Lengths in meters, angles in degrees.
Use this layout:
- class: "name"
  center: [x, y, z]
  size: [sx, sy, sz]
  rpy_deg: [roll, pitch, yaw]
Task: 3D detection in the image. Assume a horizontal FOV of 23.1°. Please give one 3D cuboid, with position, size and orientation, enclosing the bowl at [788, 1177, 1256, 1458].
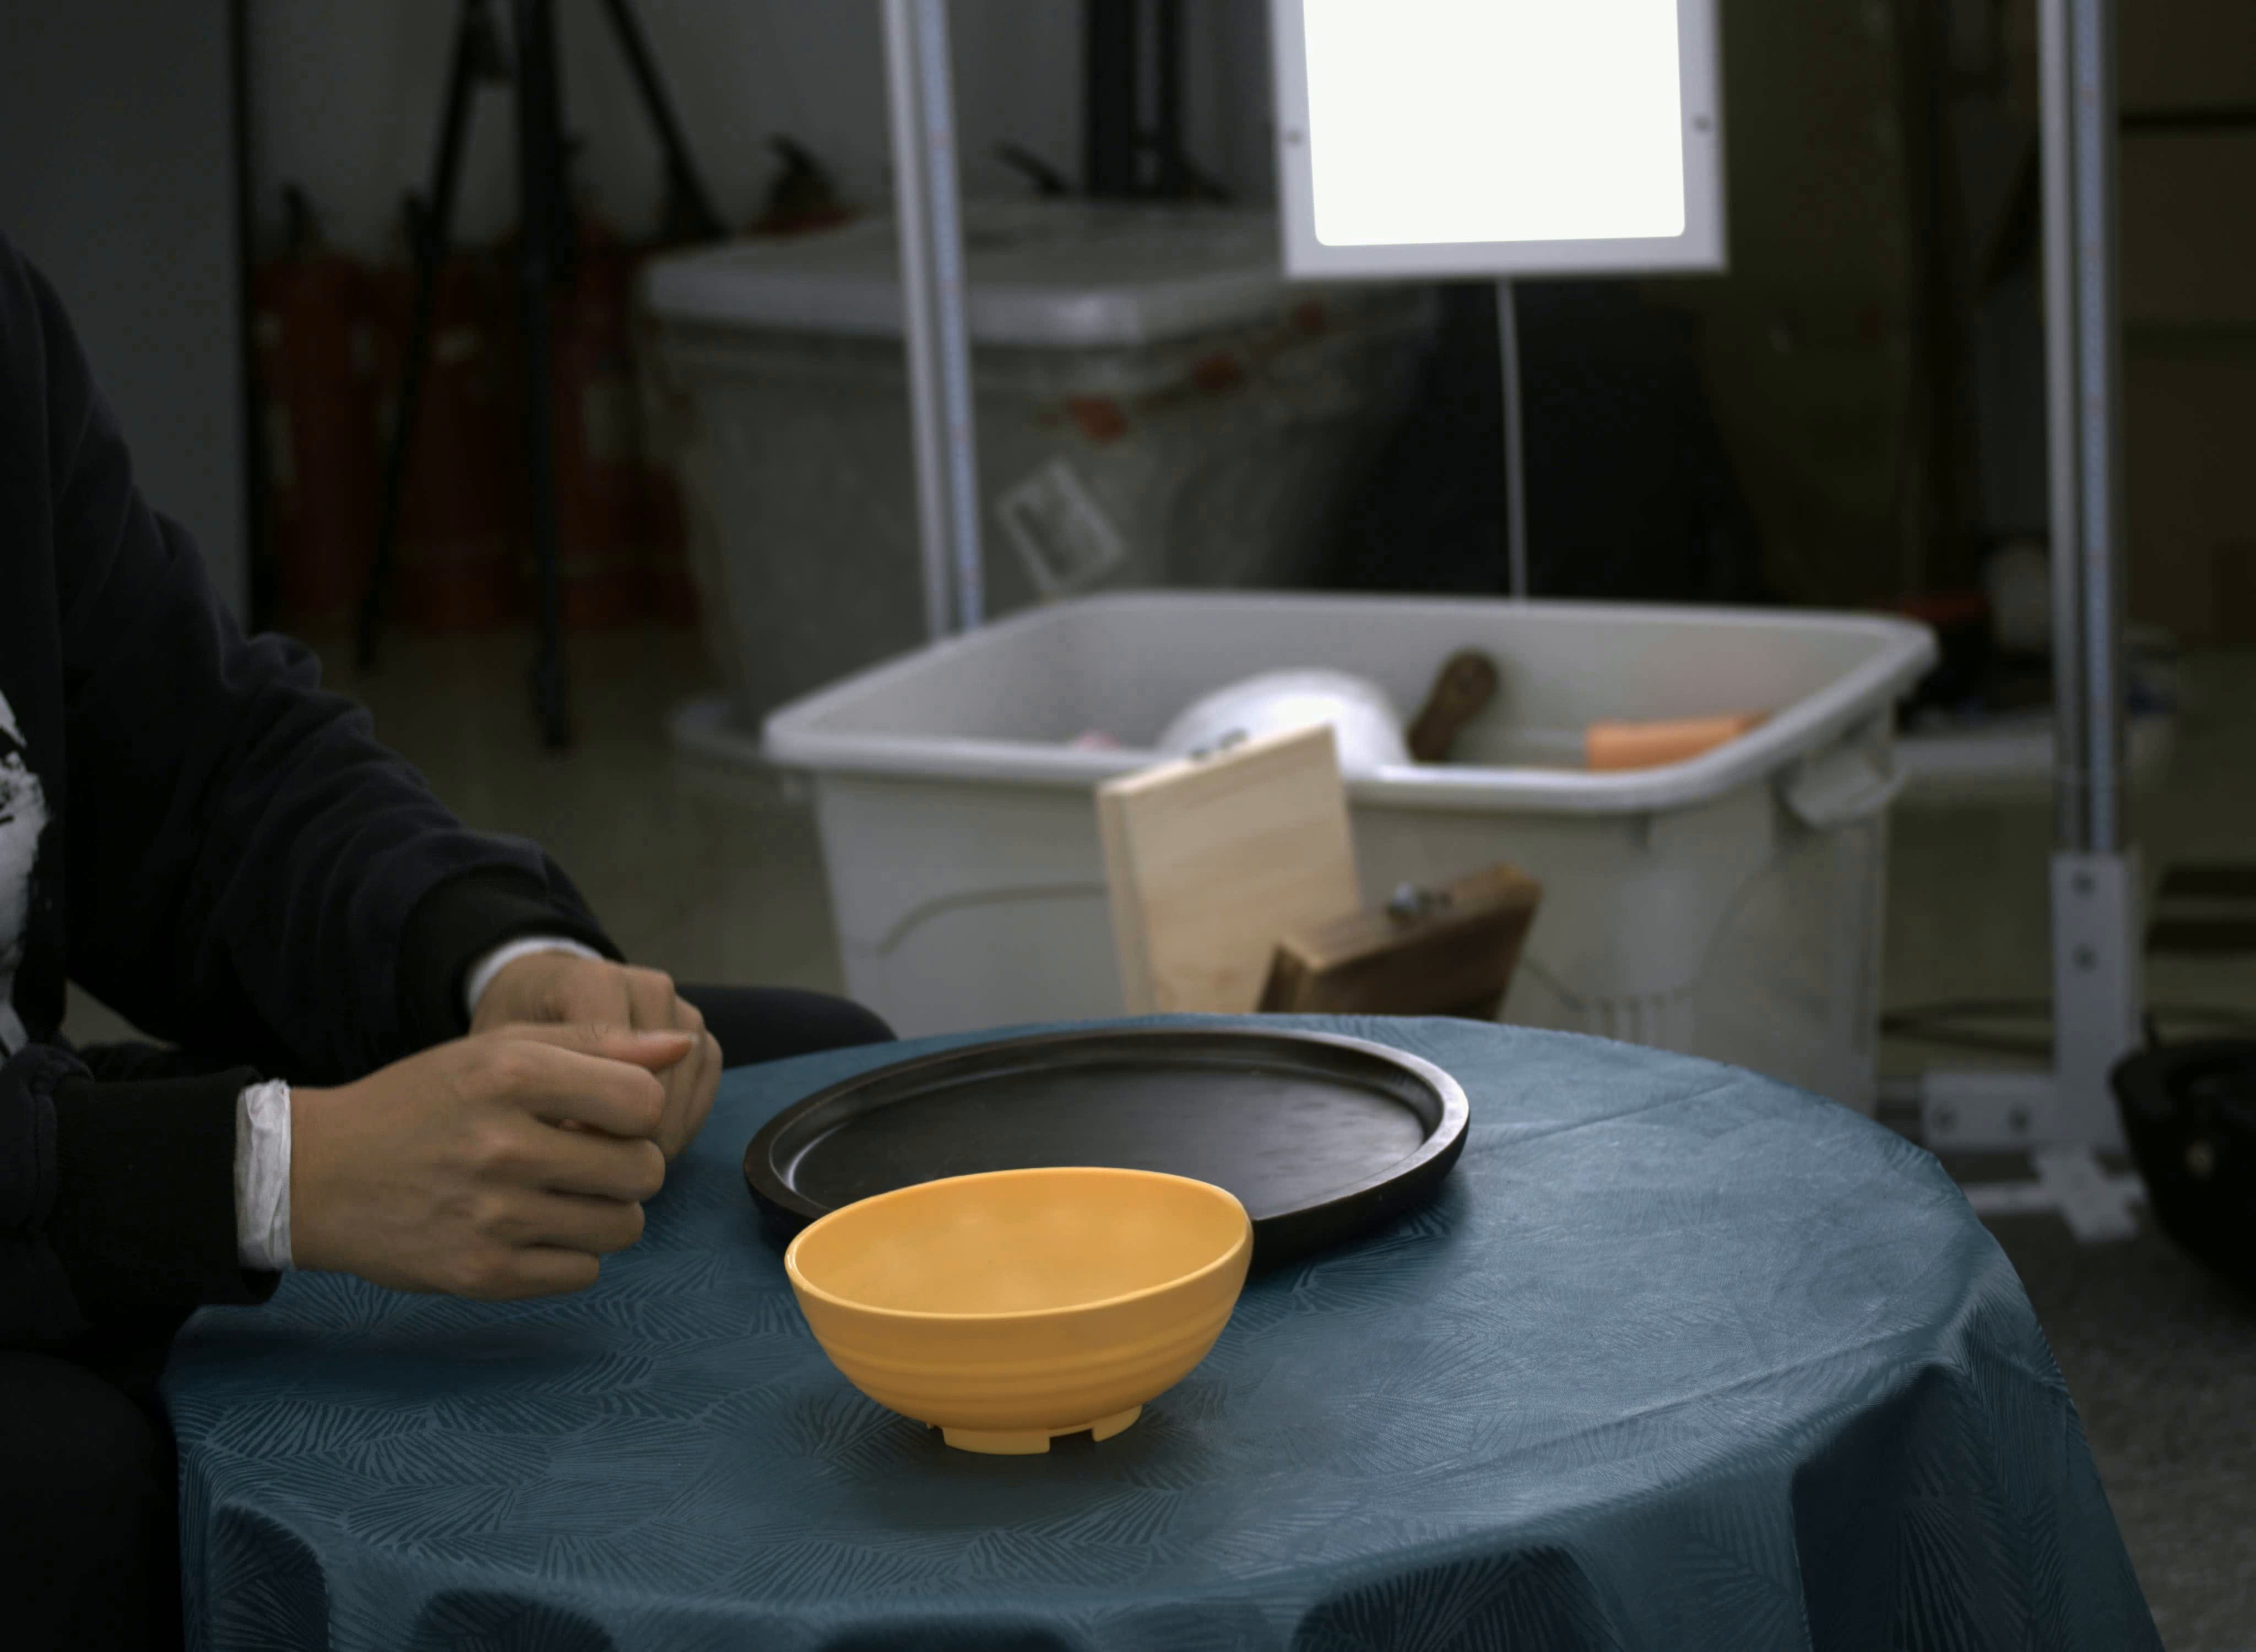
- class: "bowl"
  center: [-0.029, 0.154, 1.678]
  size: [0.145, 0.060, 0.145]
  rpy_deg: [-6, 12, 0]

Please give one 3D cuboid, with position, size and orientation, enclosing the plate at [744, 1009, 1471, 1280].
- class: "plate"
  center: [-0.006, 0.114, 1.904]
  size: [0.254, 0.029, 0.254]
  rpy_deg: [-6, 15, 0]
